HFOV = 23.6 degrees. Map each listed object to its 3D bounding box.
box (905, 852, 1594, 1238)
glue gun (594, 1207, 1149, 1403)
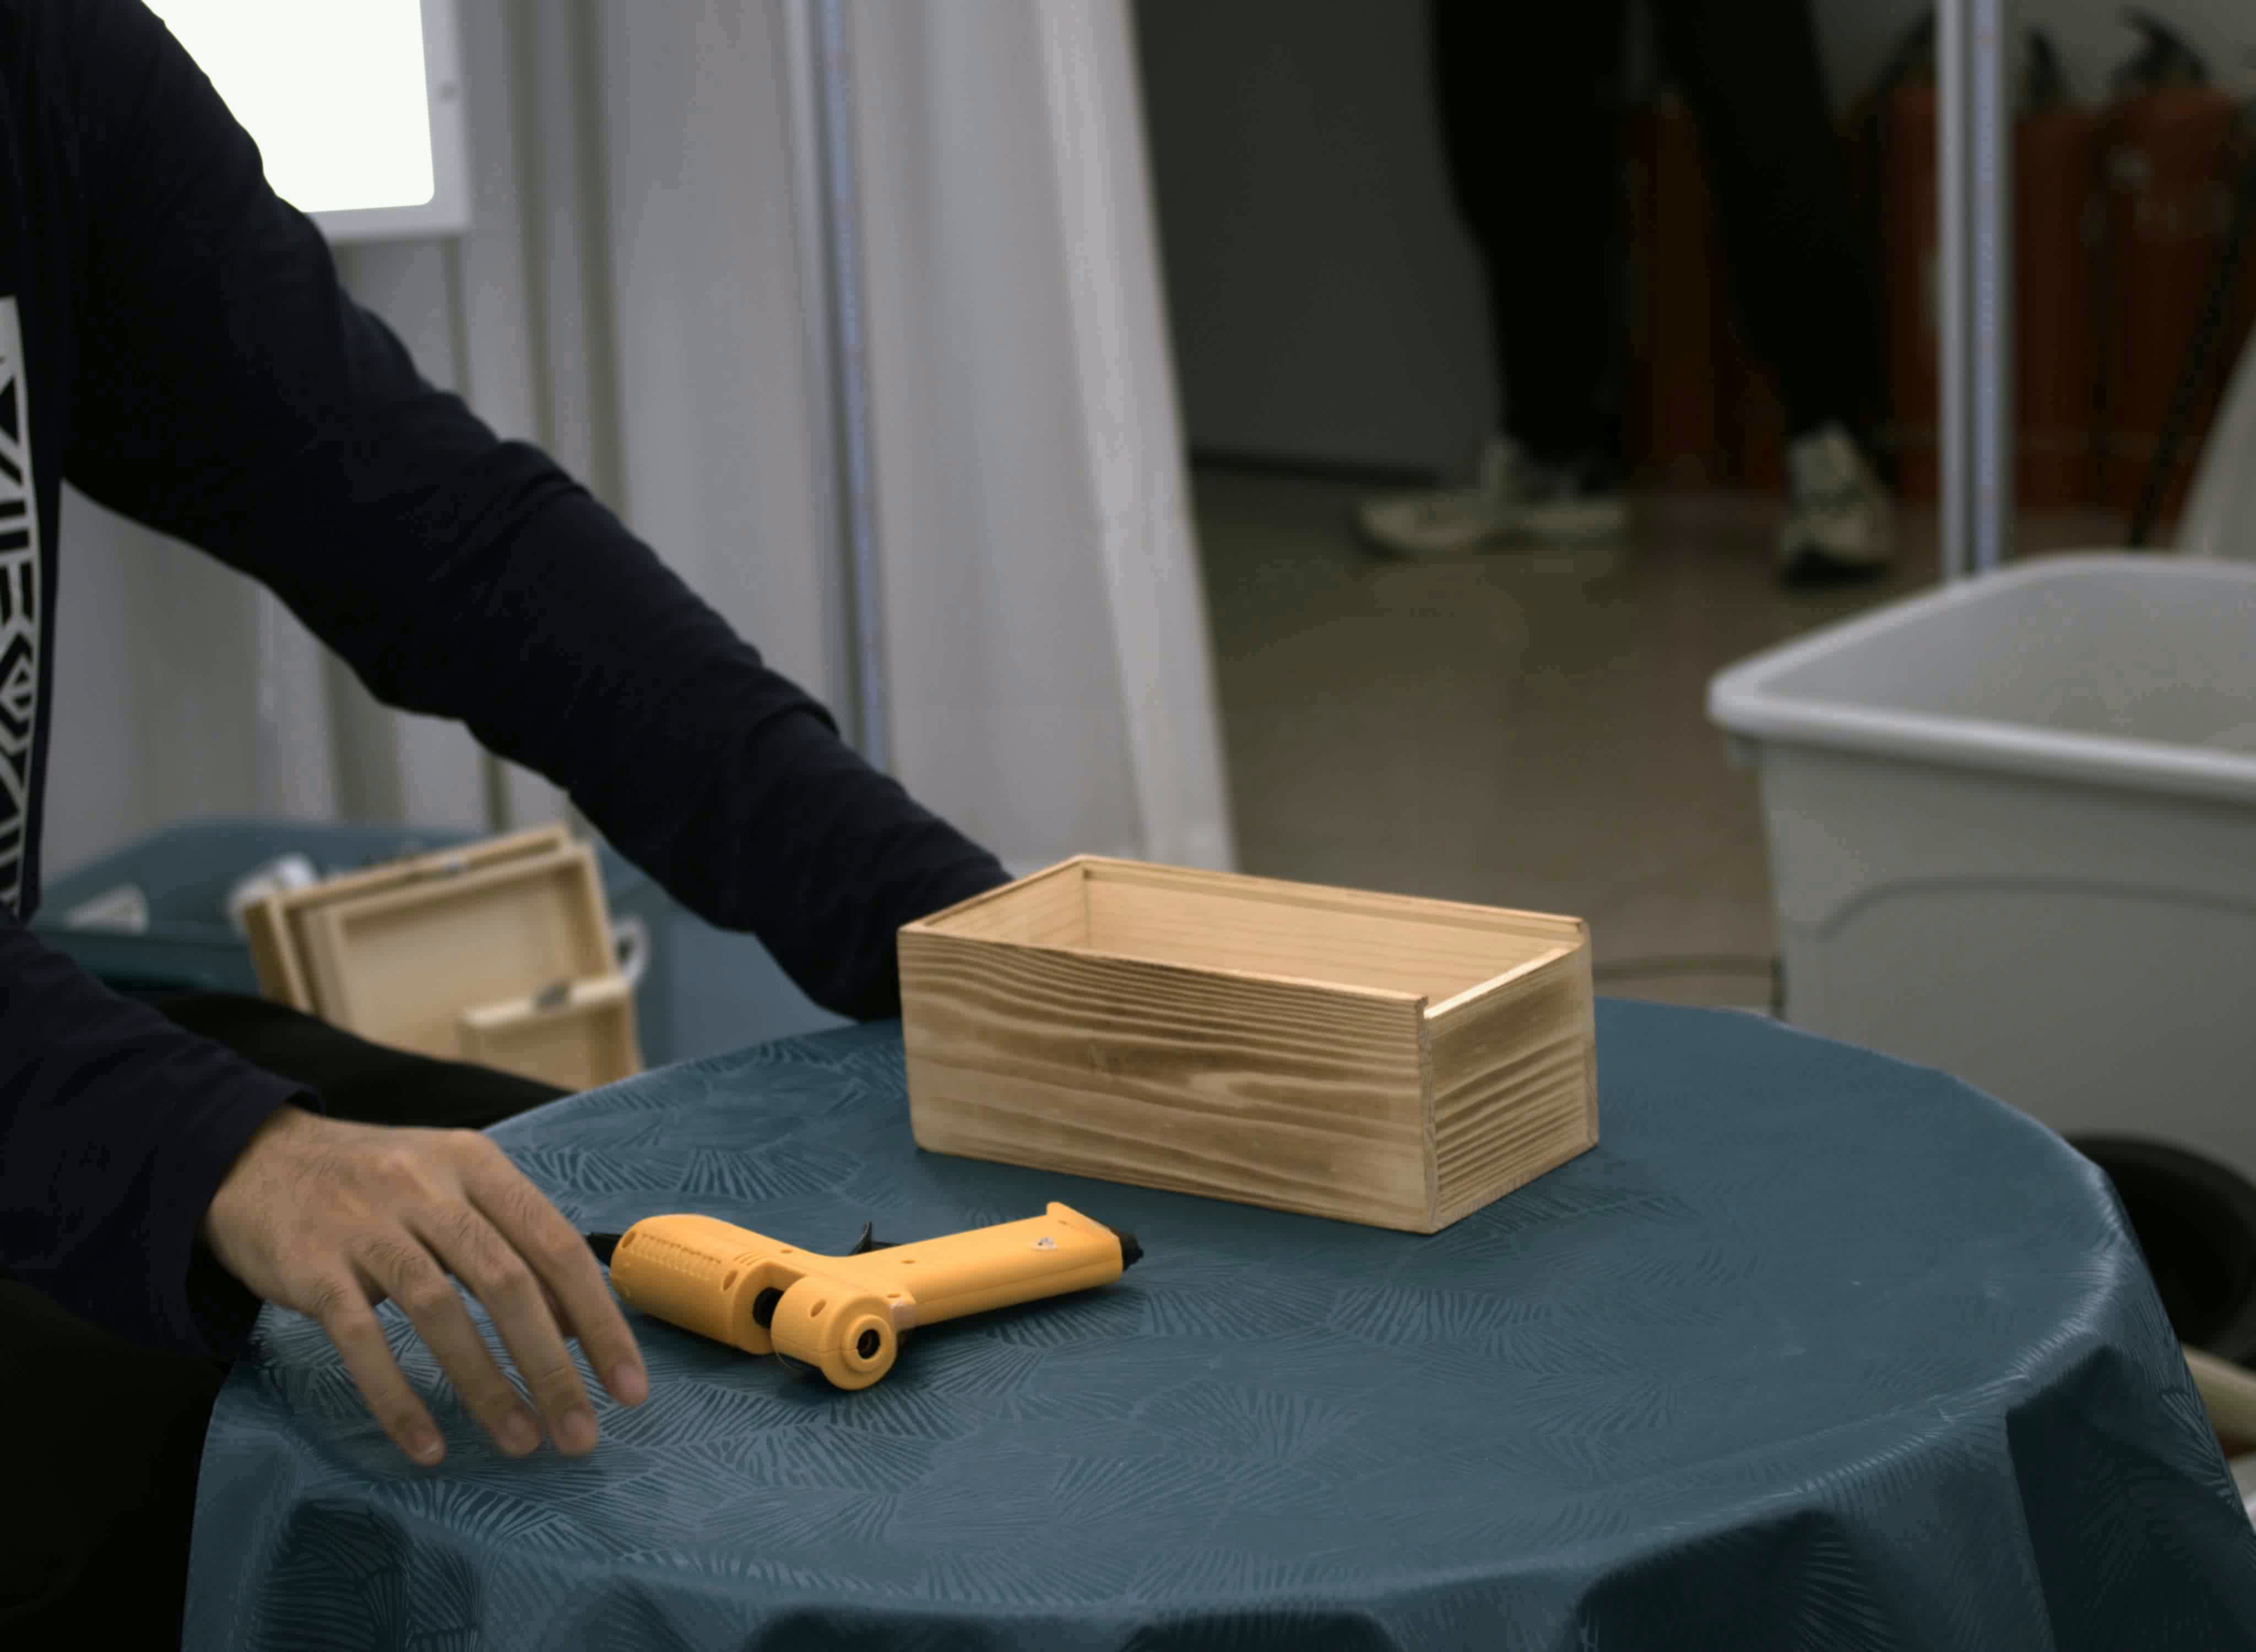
[{"bbox_3d":[0.040,0.070,1.806,0.213,0.081,0.105,8,18,37],"label":"box"},{"bbox_3d":[-0.089,0.137,1.691,0.130,0.031,0.153,-16,19,-42],"label":"glue gun"}]
